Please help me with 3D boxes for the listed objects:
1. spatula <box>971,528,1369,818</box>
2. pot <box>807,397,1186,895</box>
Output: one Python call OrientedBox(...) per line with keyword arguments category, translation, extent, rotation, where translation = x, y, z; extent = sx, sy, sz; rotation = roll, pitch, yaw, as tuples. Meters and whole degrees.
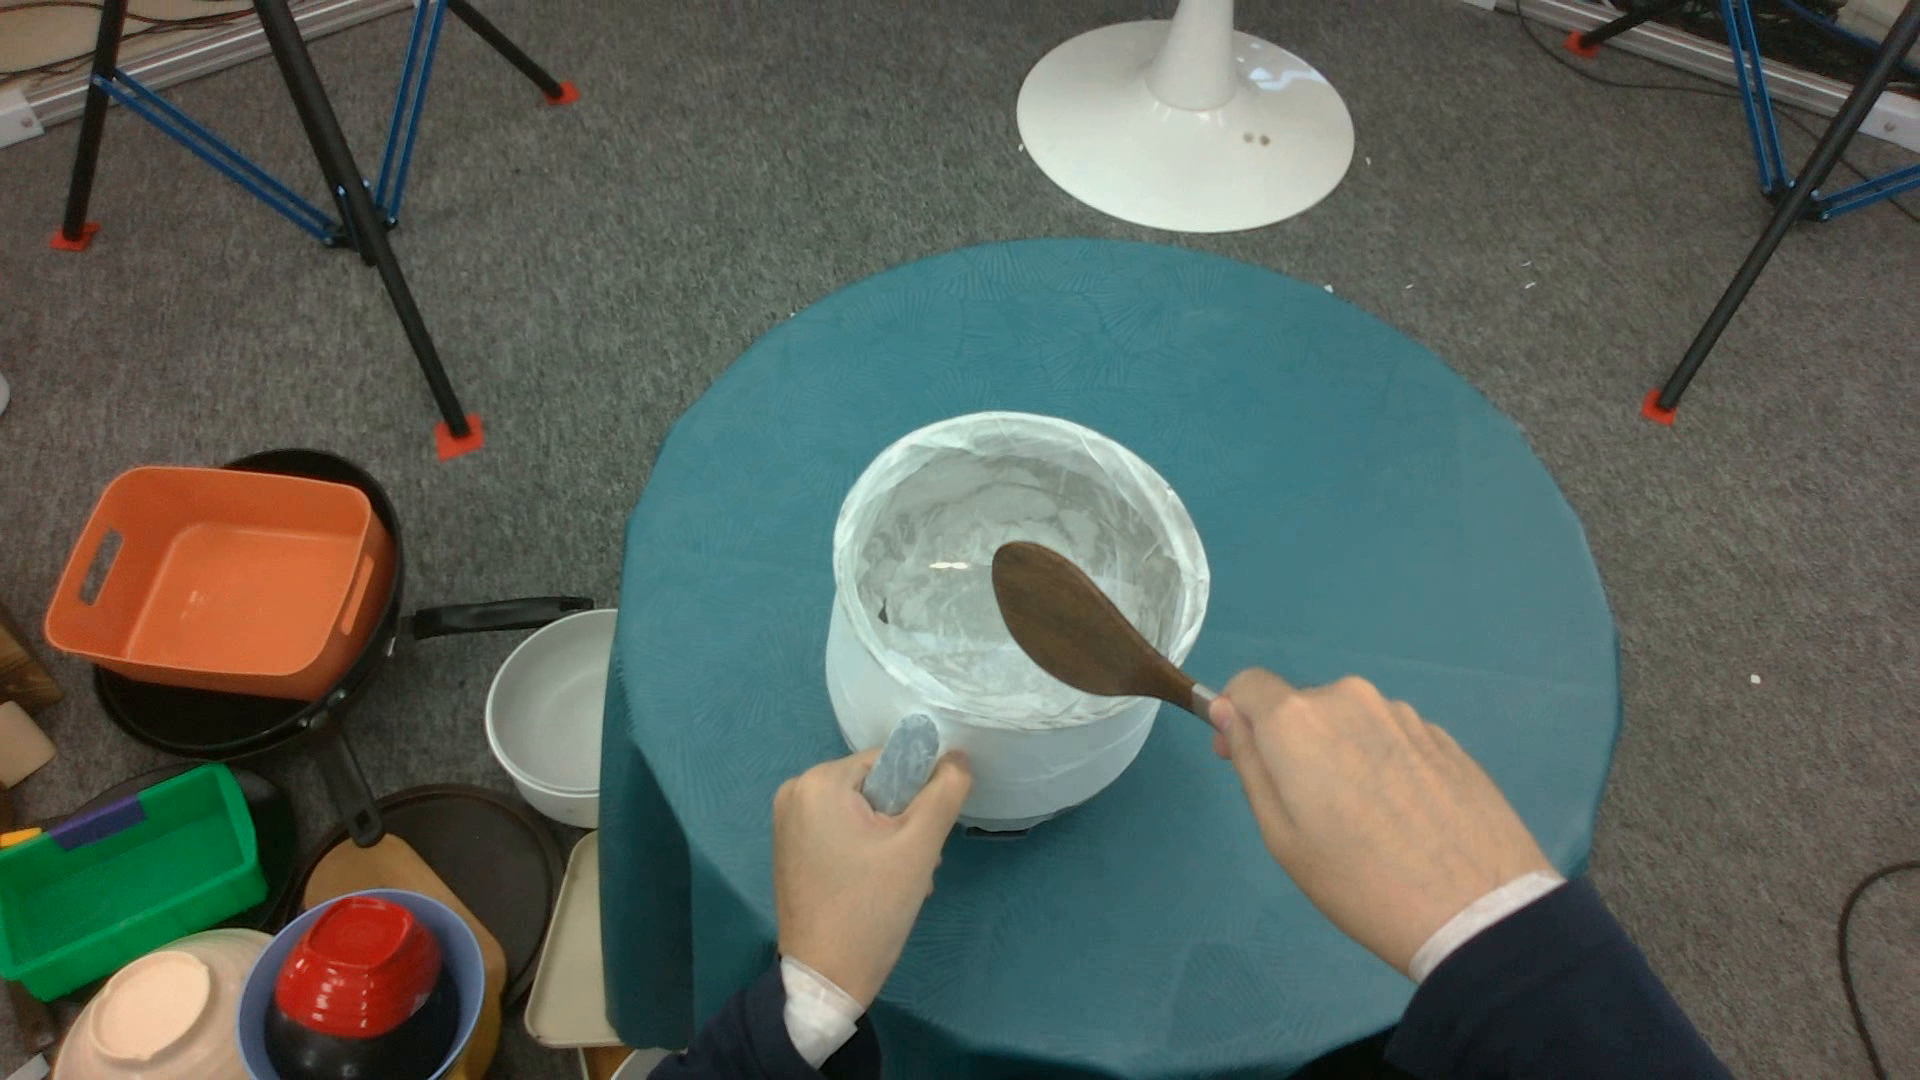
OrientedBox(category="spatula", translation=(0.074, 0.052, 0.547), extent=(0.009, 0.071, 0.216), rotation=(-30, 37, -26))
OrientedBox(category="pot", translation=(0.000, 0.057, 0.676), extent=(0.178, 0.136, 0.235), rotation=(24, 55, 10))
